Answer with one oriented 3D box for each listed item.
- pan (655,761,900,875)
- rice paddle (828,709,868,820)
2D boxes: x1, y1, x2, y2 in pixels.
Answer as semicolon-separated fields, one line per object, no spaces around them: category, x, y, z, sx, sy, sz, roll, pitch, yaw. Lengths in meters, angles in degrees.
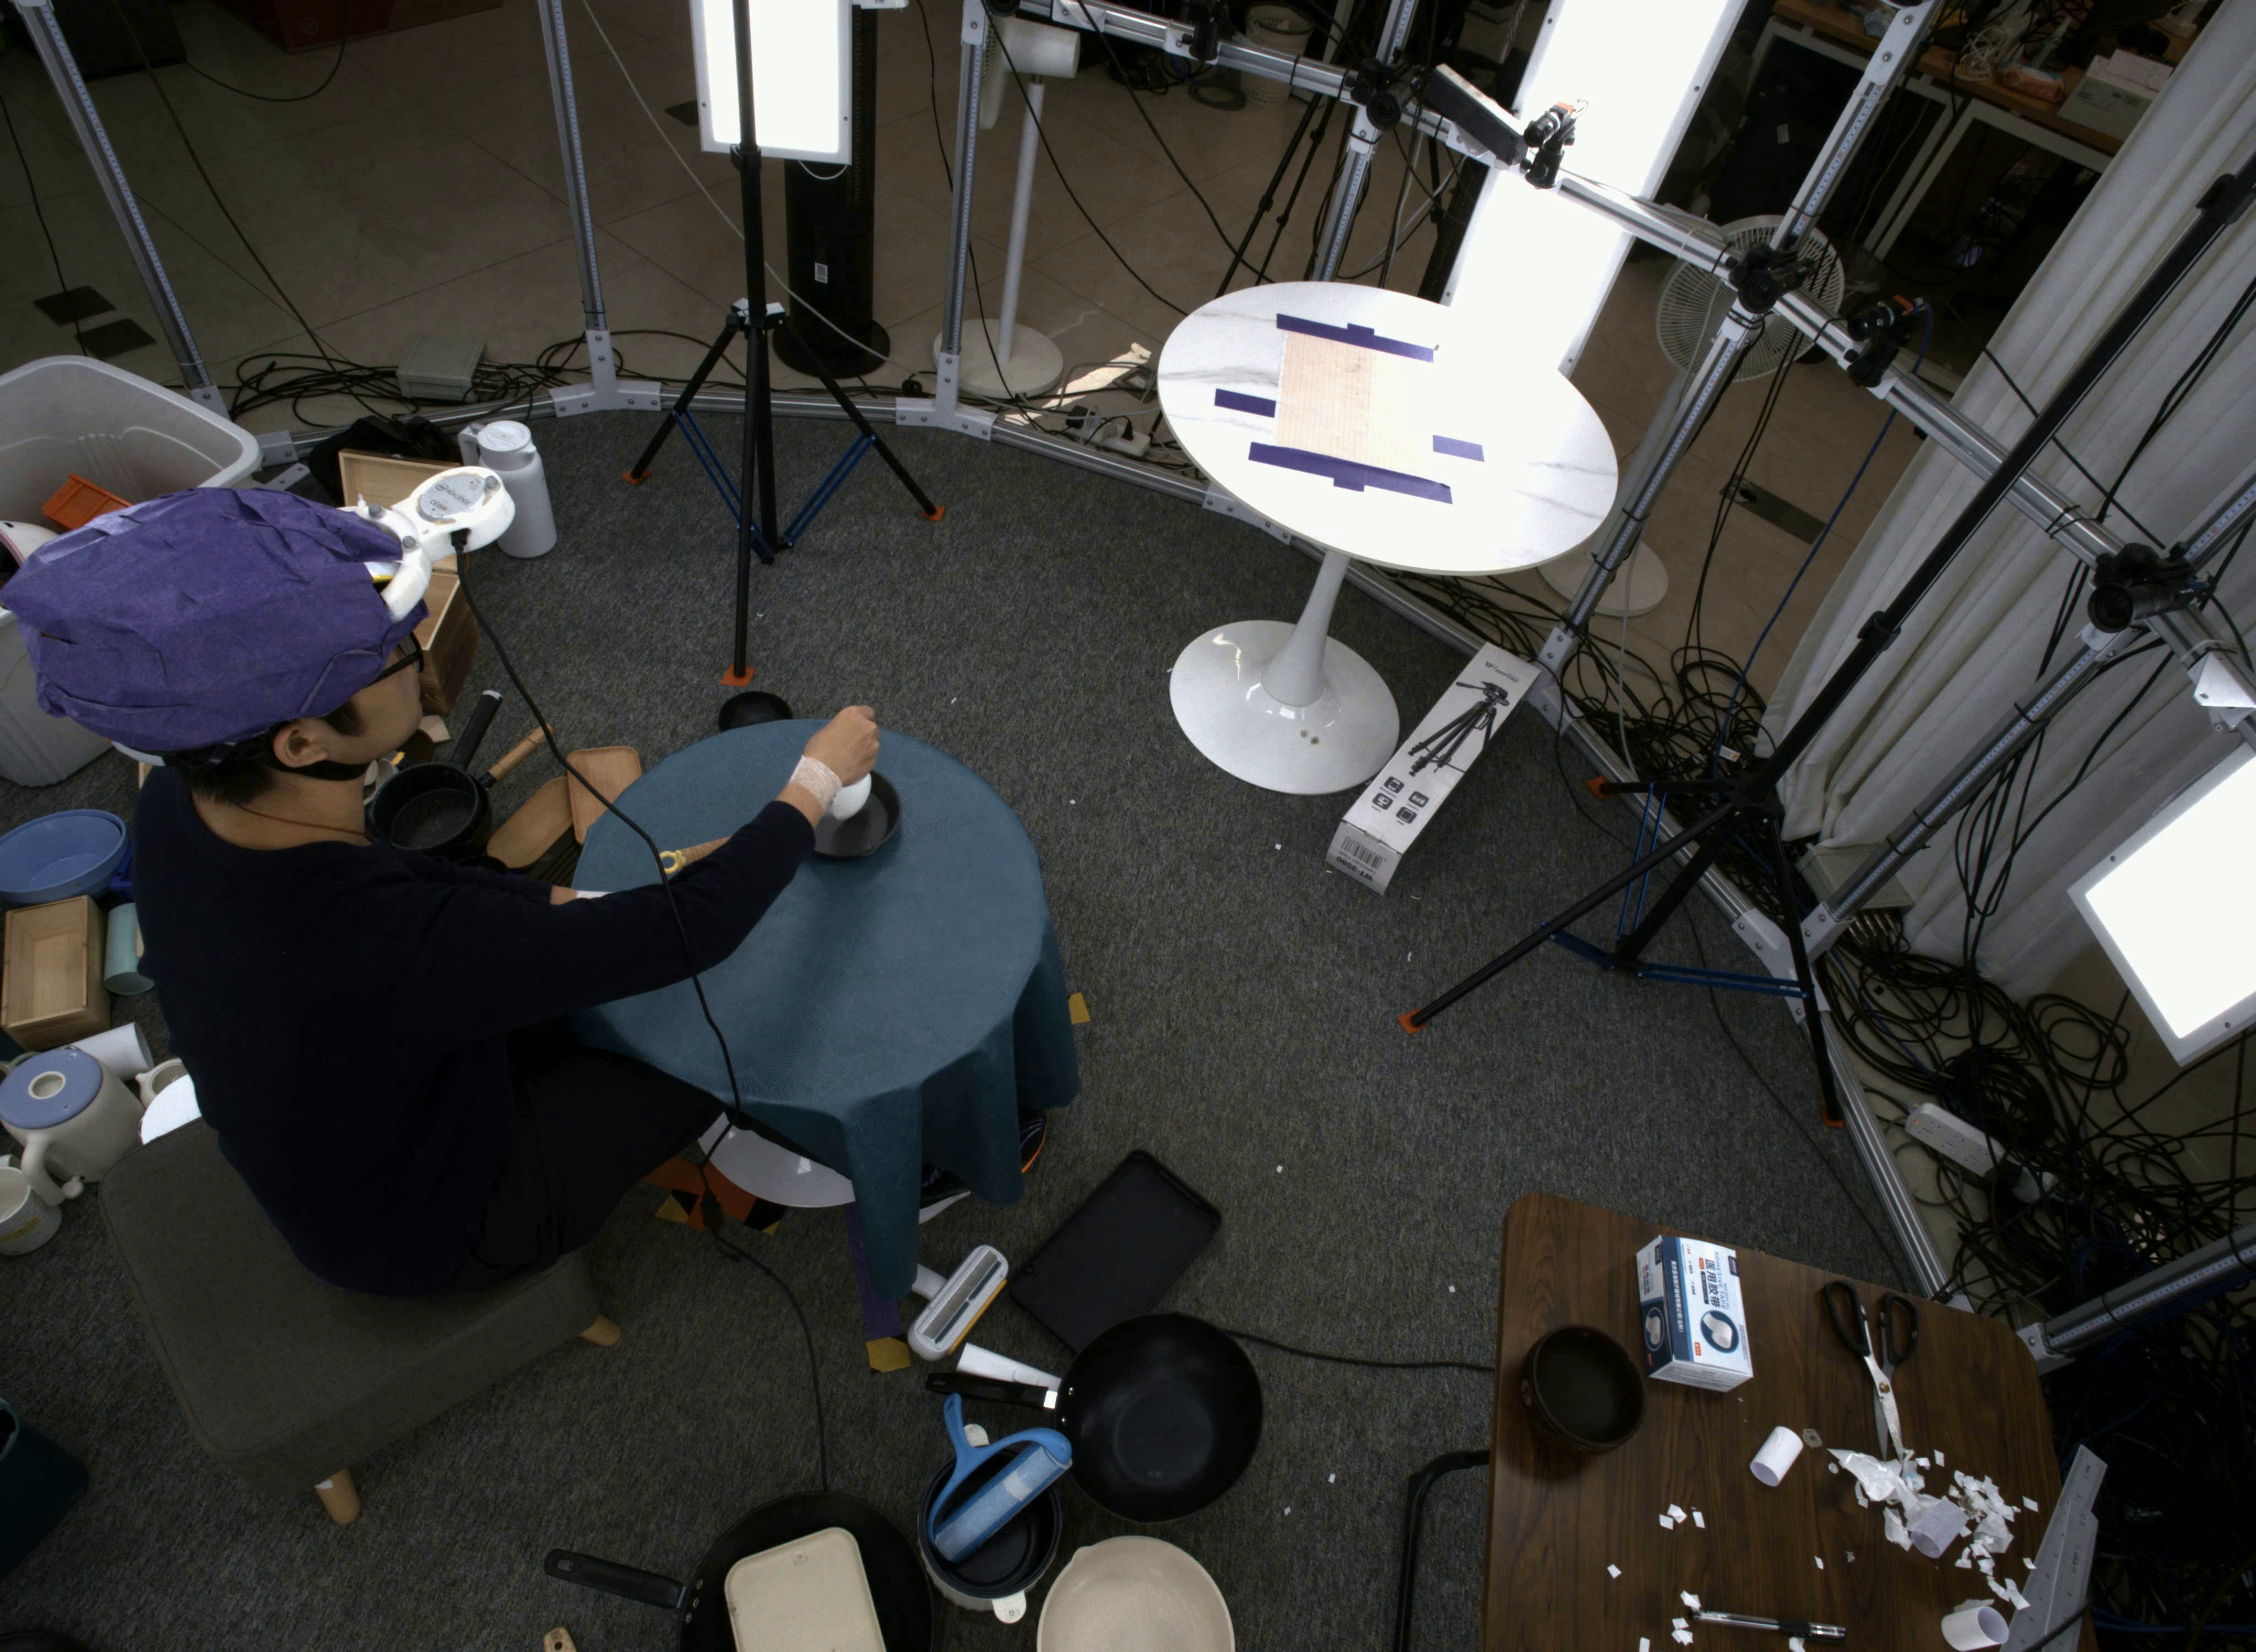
pan;-0.451;0.005;1.670;0.326;0.050;0.165;-20;61;-29
rice paddle;-0.356;-0.073;1.649;0.029;0.208;0.069;40;58;14
